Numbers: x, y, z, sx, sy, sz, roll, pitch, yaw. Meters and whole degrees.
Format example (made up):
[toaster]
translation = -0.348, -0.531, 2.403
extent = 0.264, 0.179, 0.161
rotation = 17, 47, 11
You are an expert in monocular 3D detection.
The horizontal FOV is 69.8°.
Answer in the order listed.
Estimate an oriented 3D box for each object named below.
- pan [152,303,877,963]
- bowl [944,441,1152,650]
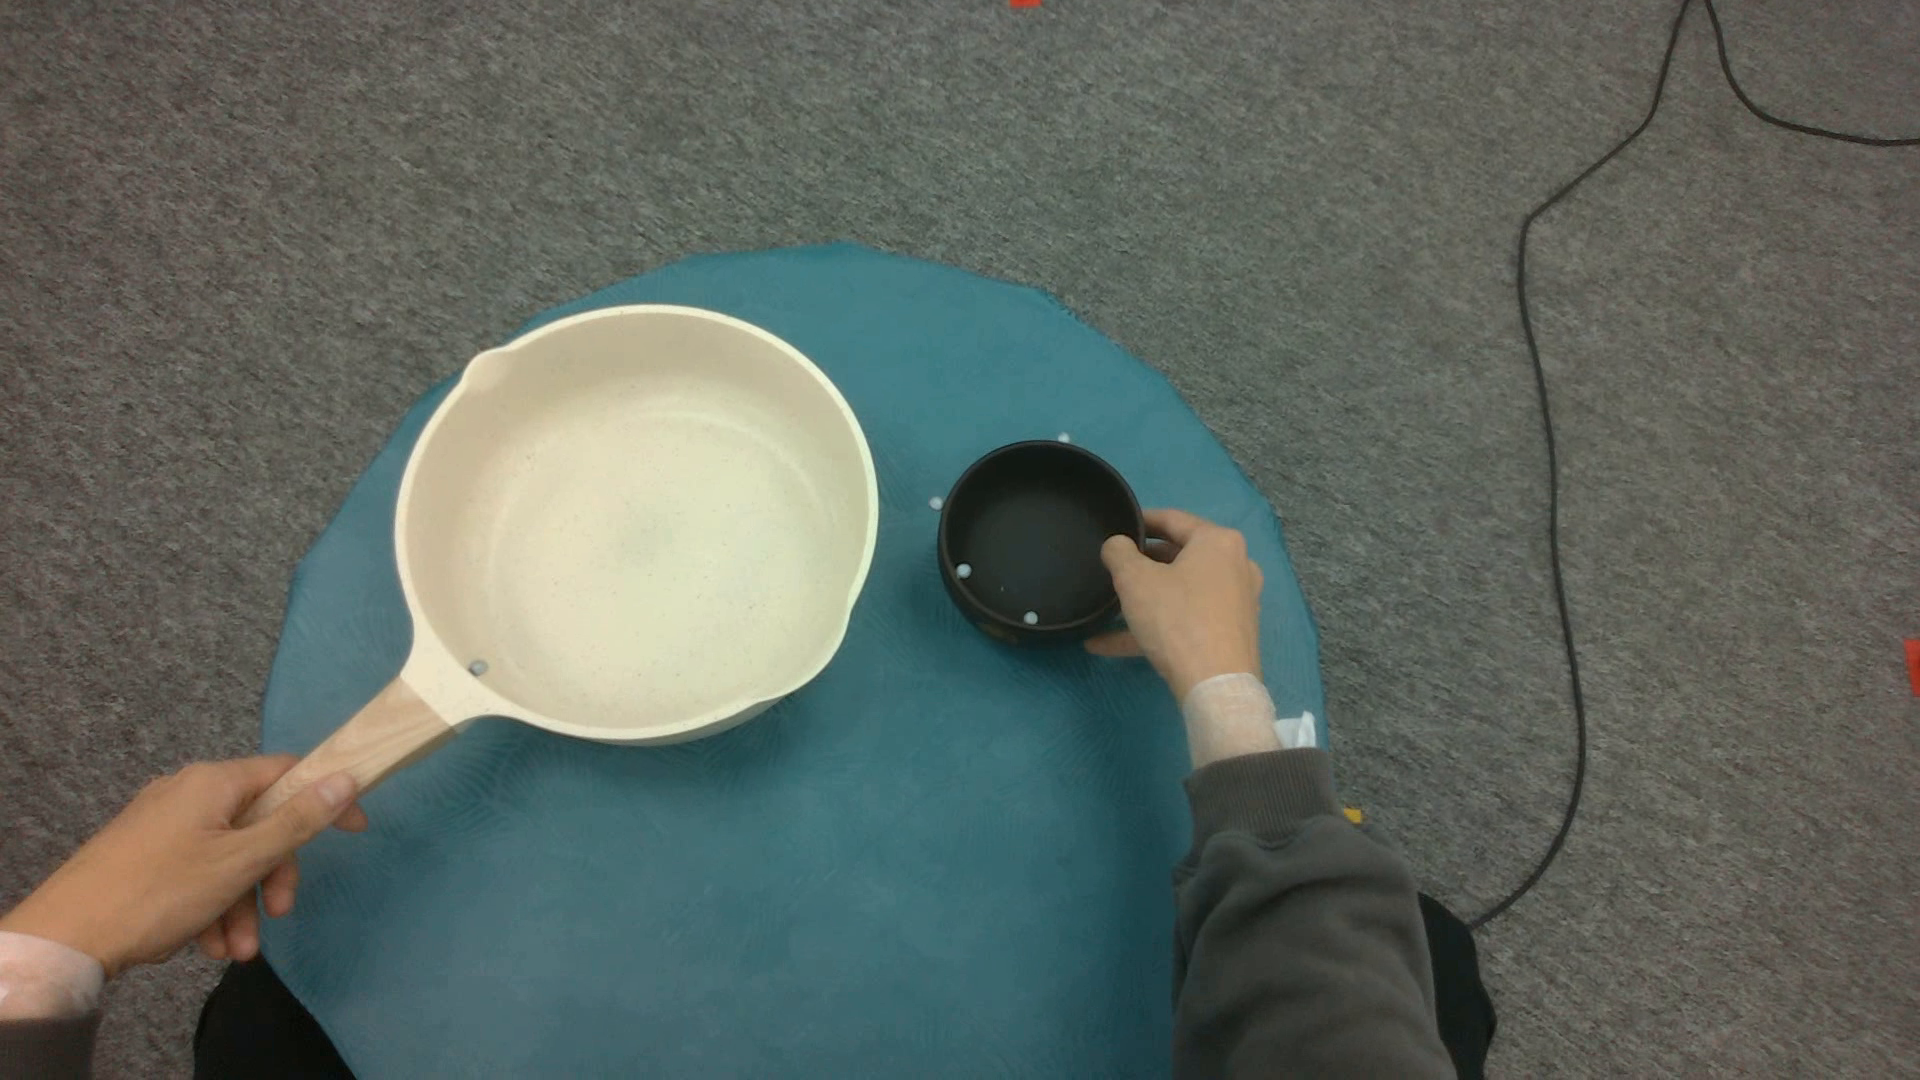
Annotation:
[pan]
translation = -0.233, 0.056, 0.751
extent = 0.263, 0.101, 0.436
rotation = 41, 72, 11
[bowl]
translation = 0.049, 0.009, 0.798
extent = 0.118, 0.069, 0.118
rotation = 1, 68, -3
